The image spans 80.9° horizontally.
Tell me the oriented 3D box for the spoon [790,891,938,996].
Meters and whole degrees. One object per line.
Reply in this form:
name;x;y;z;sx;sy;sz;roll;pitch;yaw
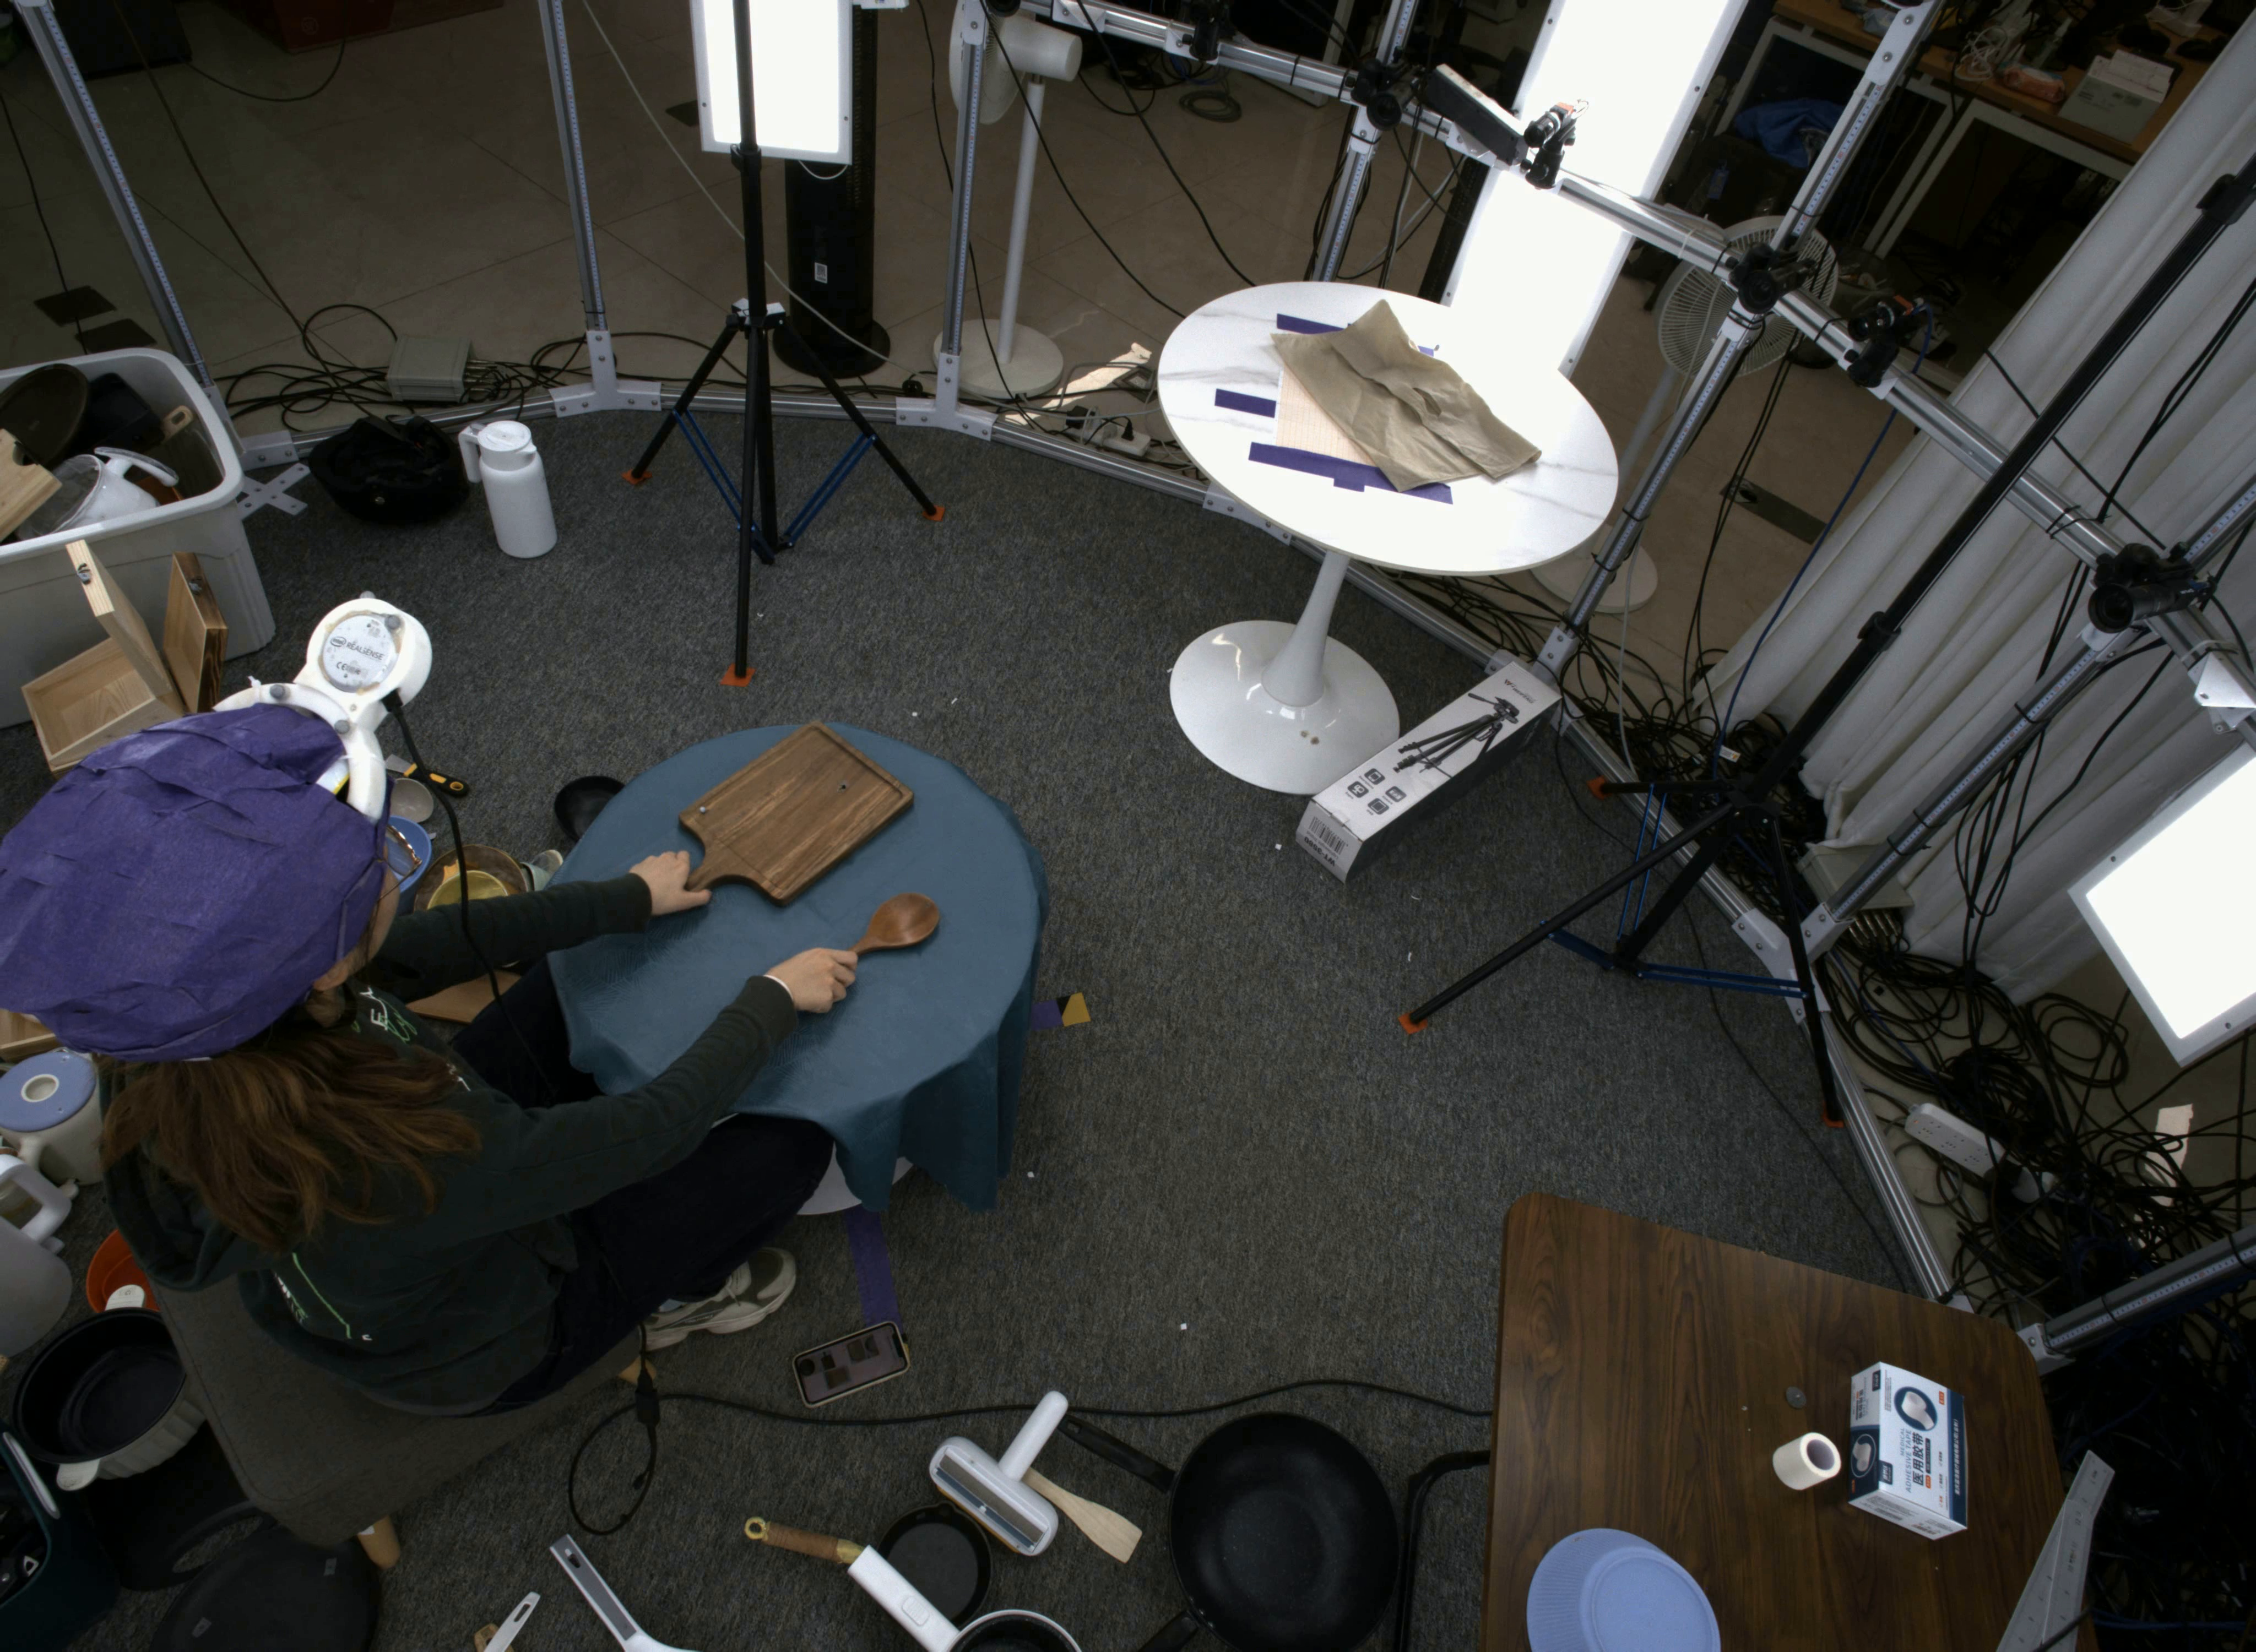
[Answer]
spoon;-0.331;0.148;1.631;0.216;0.017;0.074;-32;69;-32

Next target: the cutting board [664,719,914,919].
cutting board;-0.470;0.004;1.703;0.197;0.023;0.352;37;54;13
